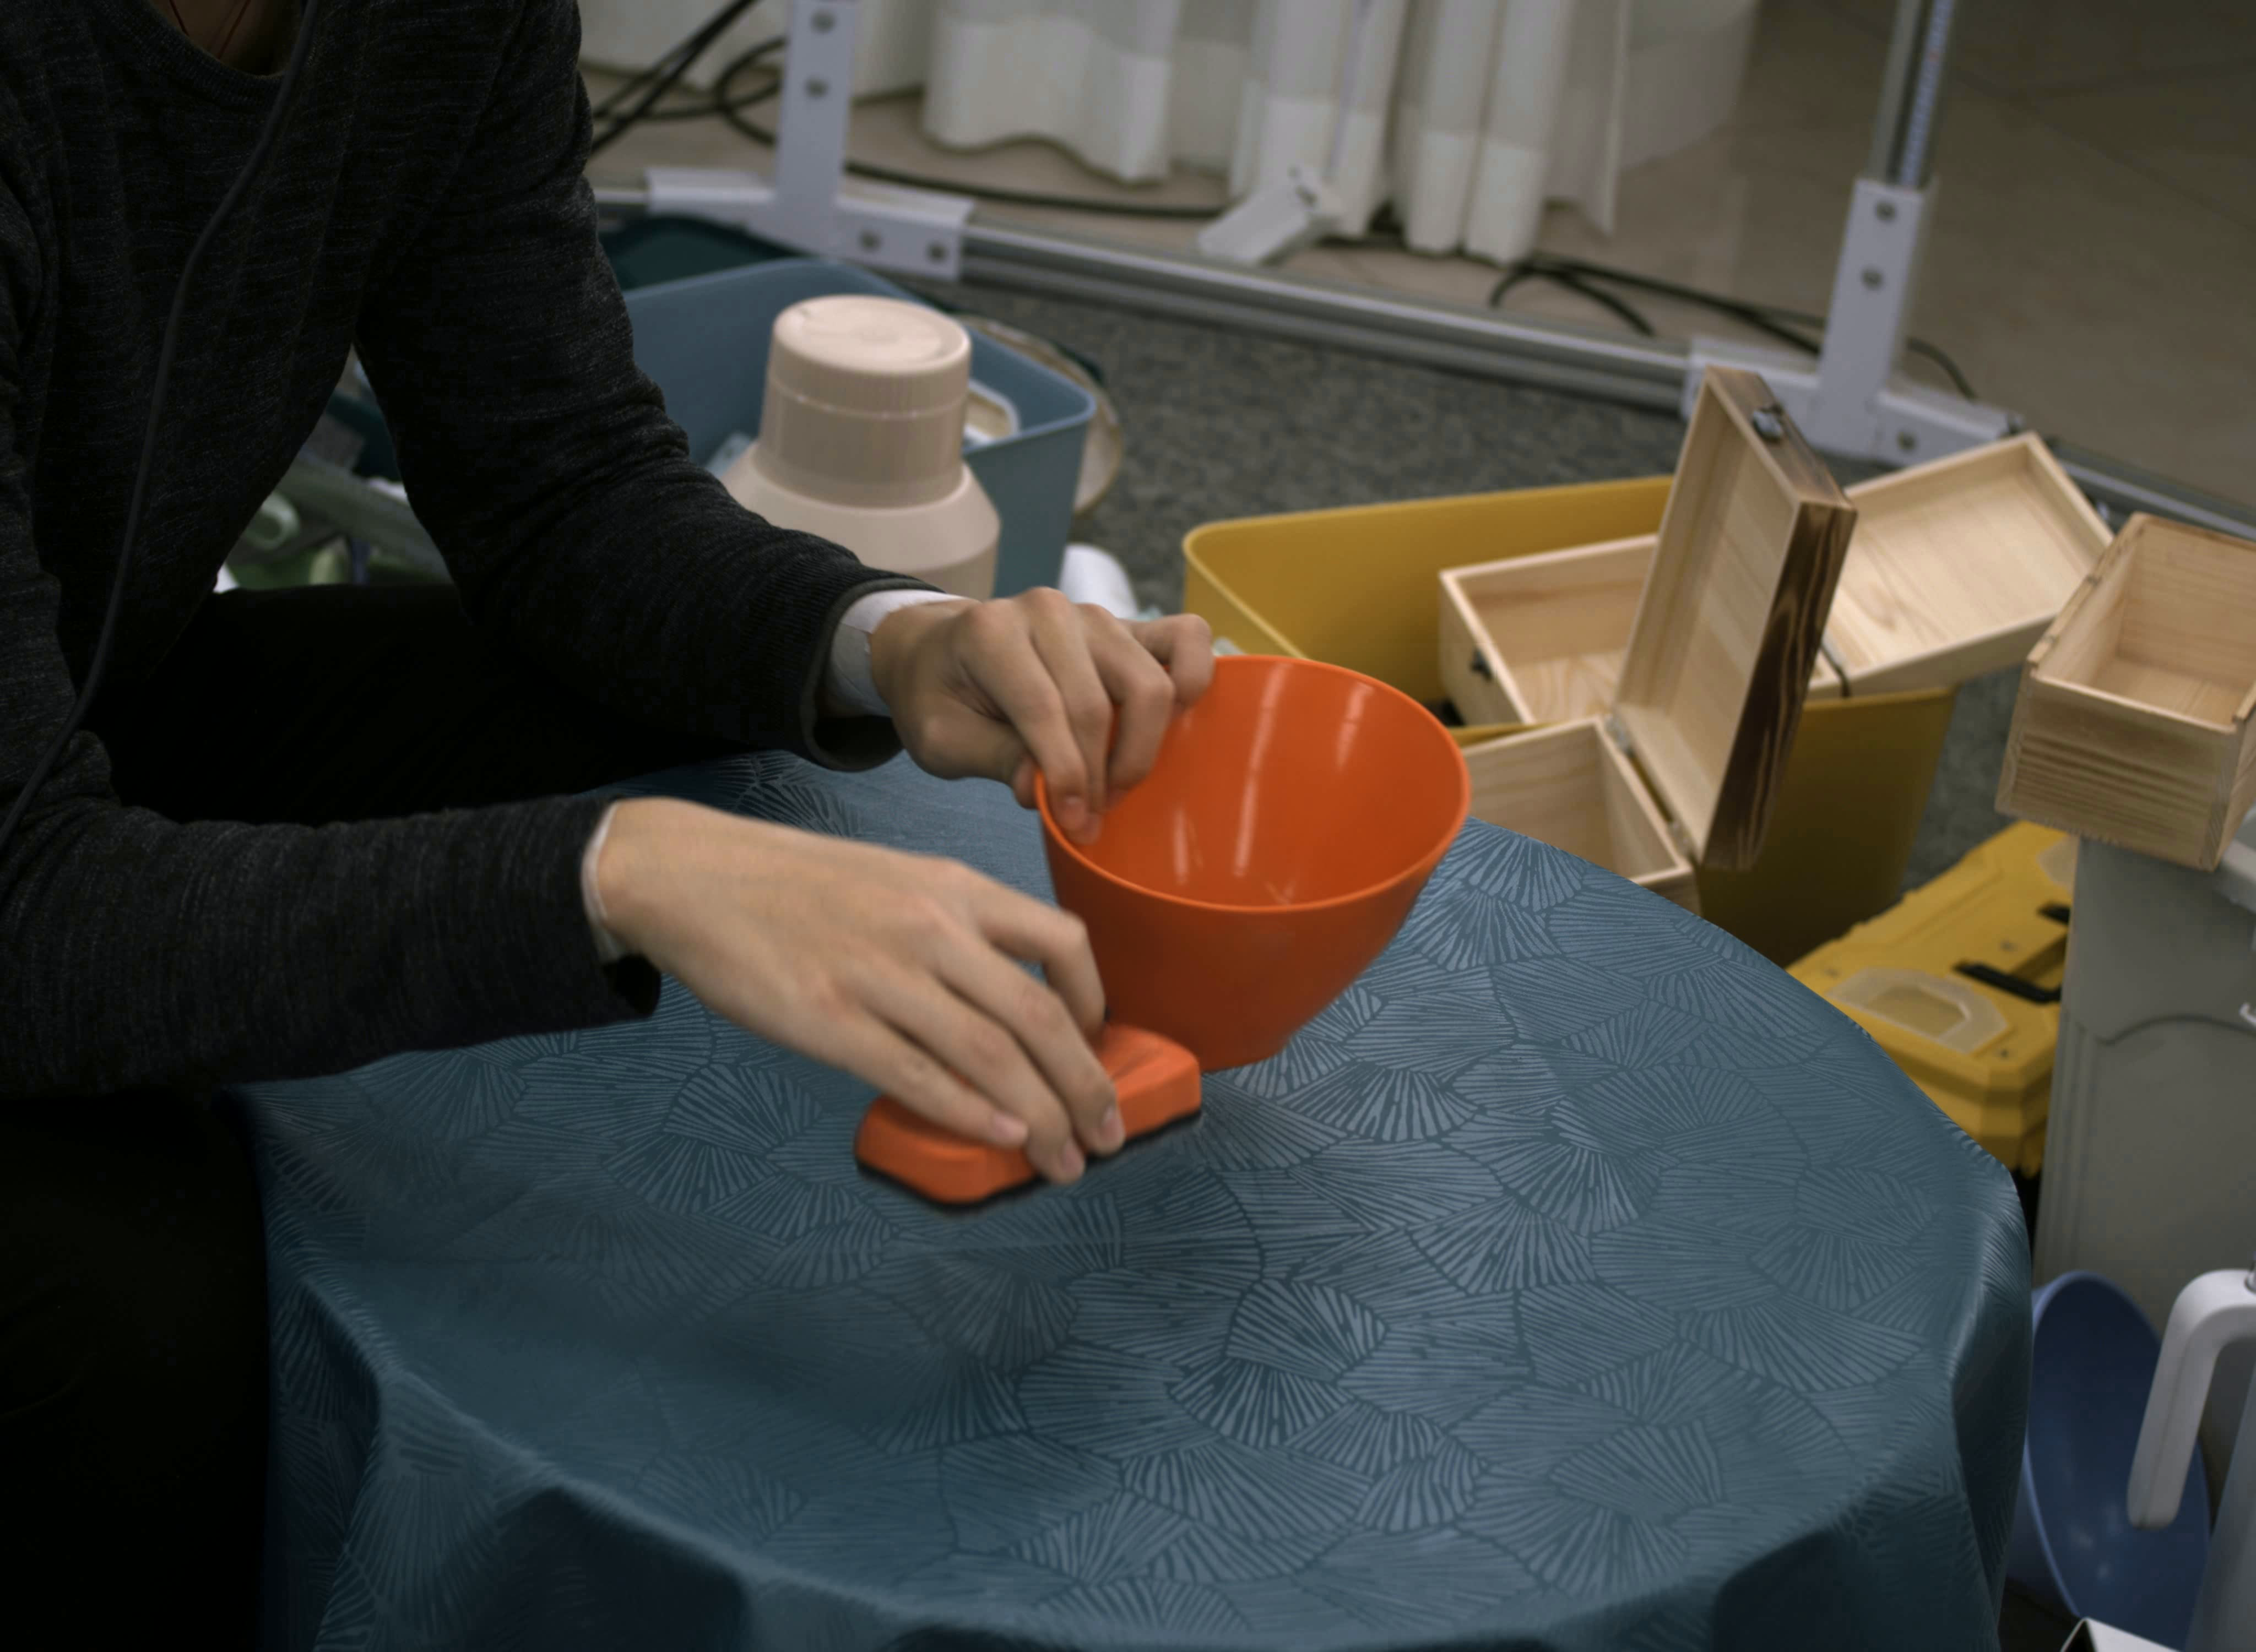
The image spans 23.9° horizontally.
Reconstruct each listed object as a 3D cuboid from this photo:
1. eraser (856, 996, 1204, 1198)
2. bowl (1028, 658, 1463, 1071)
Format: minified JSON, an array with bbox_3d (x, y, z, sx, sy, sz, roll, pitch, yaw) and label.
[{"bbox_3d":[-0.031,0.084,1.673,0.107,0.023,0.059,-19,28,-38],"label":"eraser"},{"bbox_3d":[0.035,0.020,1.824,0.147,0.104,0.149,6,28,-4],"label":"bowl"}]
